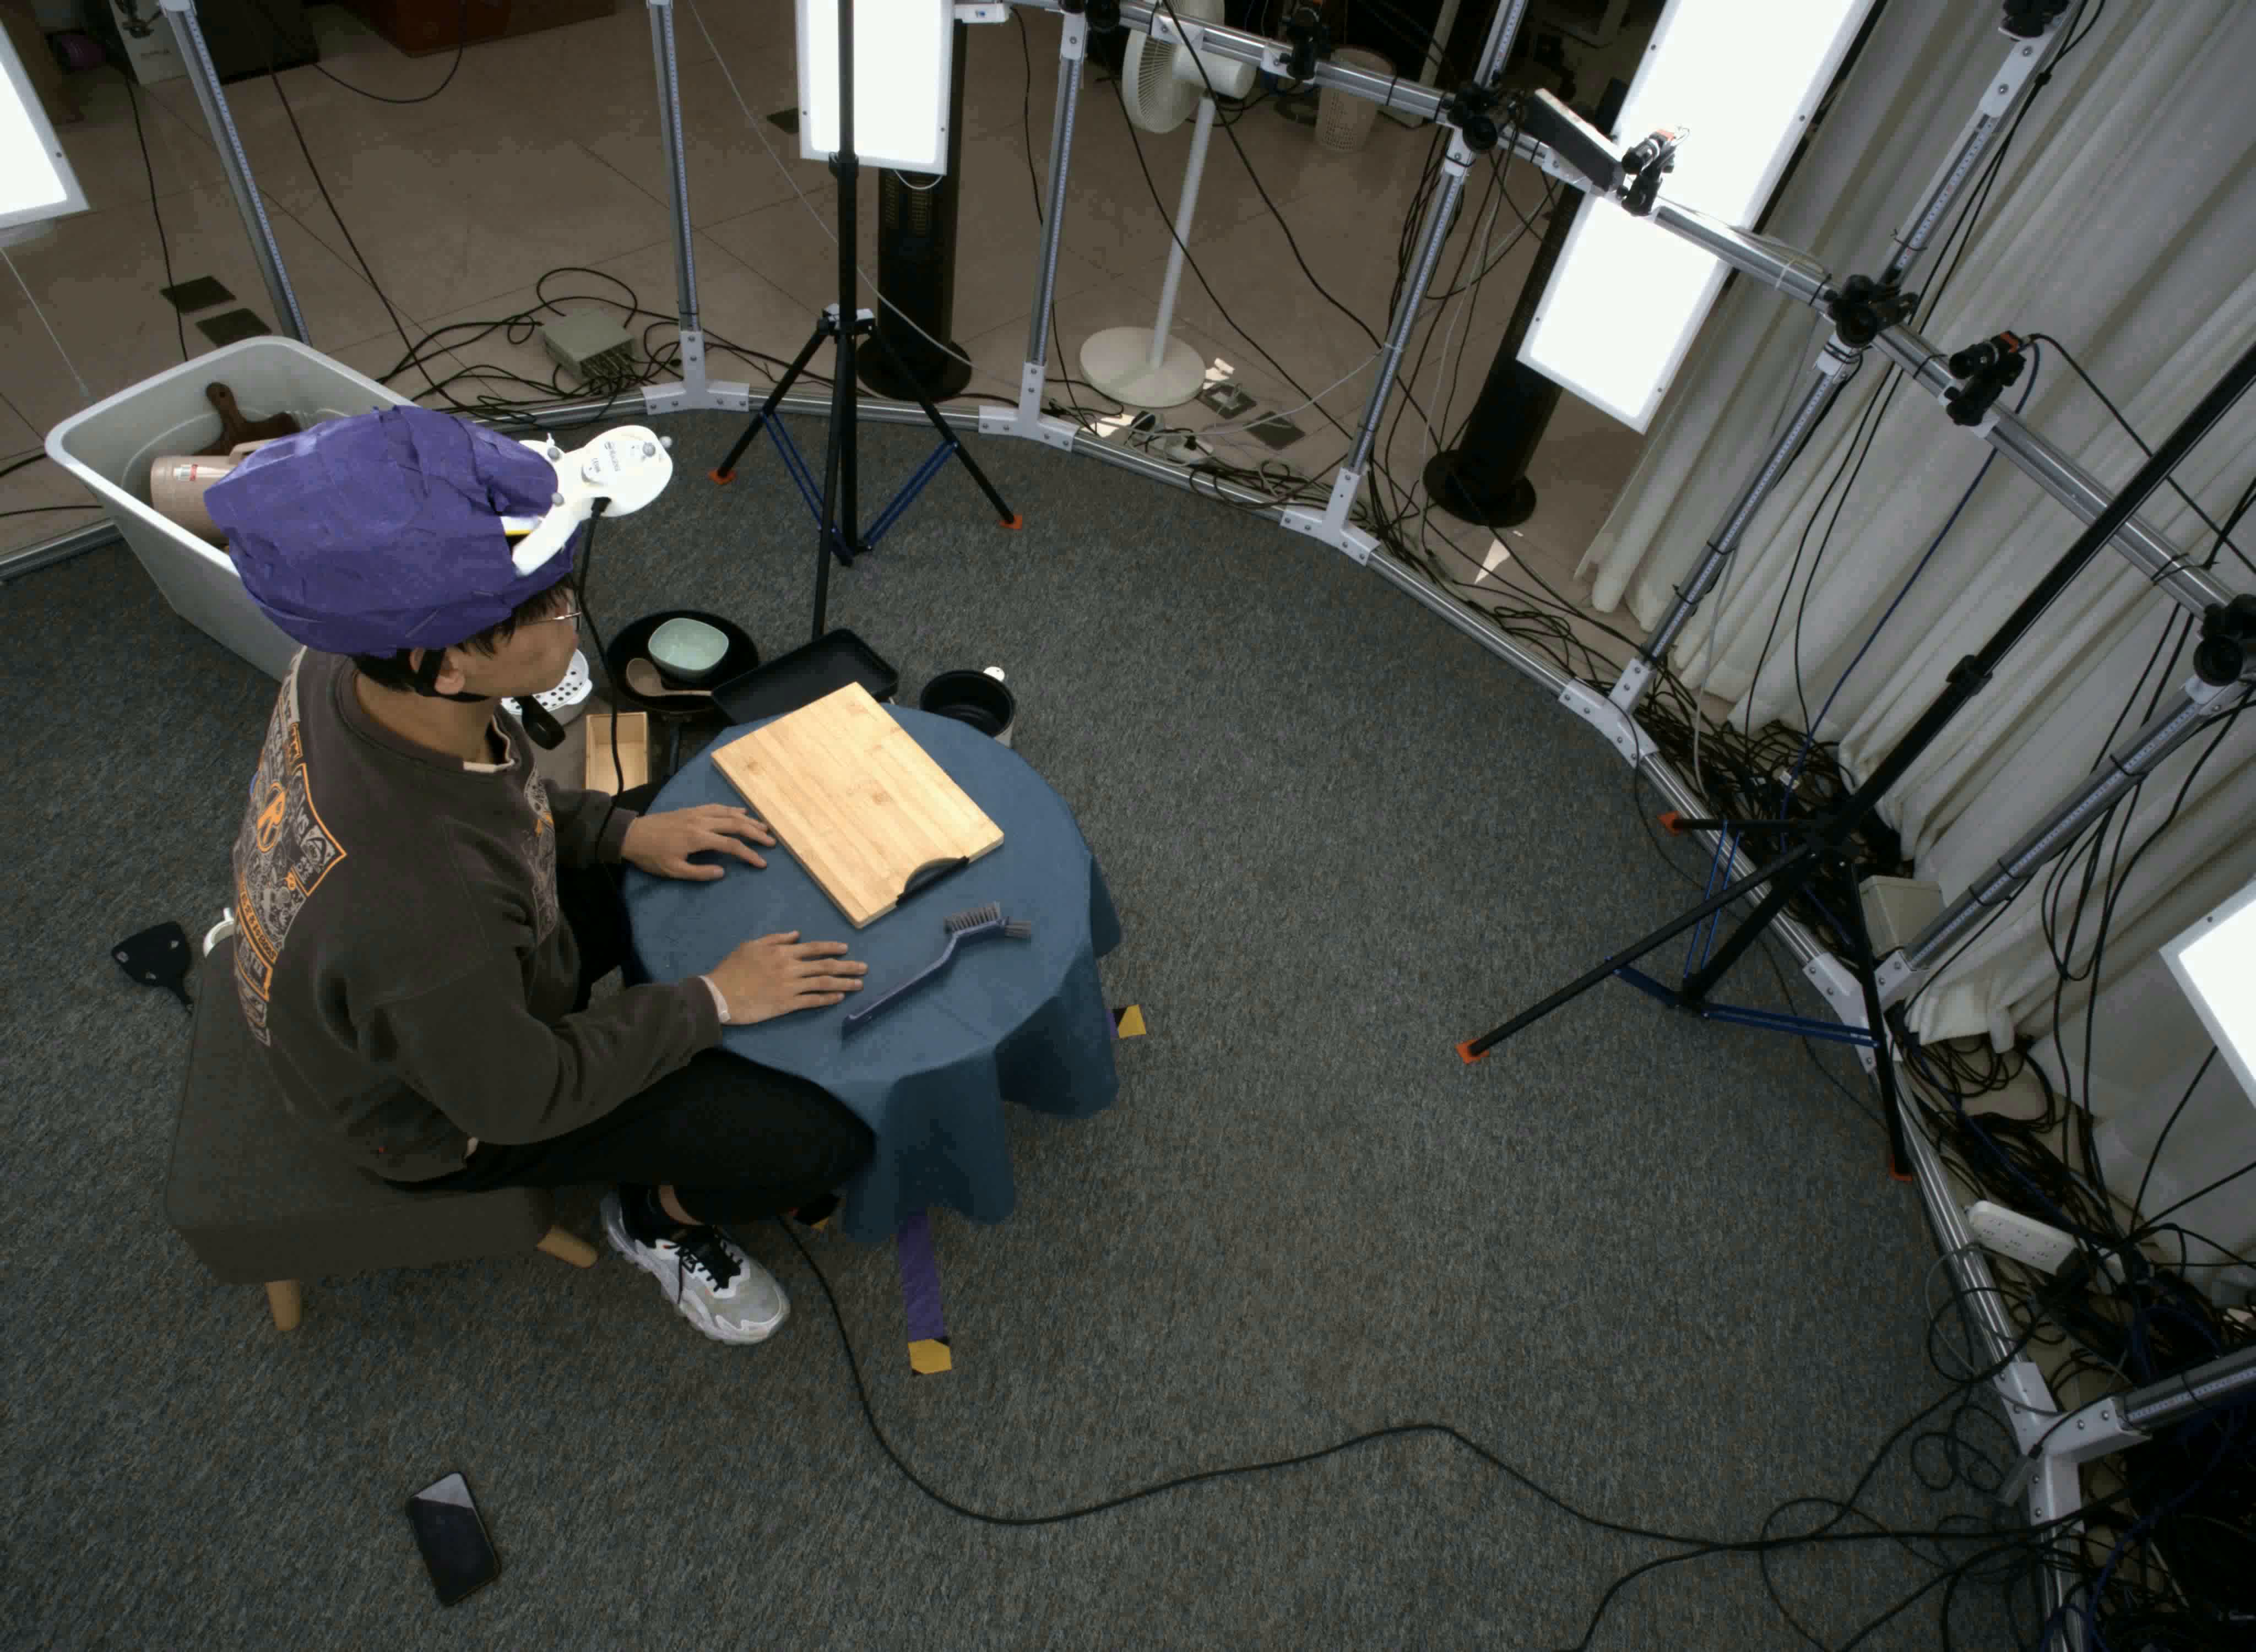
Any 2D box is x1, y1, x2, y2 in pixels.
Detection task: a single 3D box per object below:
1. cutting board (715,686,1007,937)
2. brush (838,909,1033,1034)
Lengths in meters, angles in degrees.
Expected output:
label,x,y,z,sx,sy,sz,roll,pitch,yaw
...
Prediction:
label,x,y,z,sx,sy,sz,roll,pitch,yaw
cutting board,-0.363,-0.033,1.767,0.251,0.024,0.341,-35,68,-31
brush,-0.241,0.185,1.628,0.094,0.034,0.273,39,54,15
